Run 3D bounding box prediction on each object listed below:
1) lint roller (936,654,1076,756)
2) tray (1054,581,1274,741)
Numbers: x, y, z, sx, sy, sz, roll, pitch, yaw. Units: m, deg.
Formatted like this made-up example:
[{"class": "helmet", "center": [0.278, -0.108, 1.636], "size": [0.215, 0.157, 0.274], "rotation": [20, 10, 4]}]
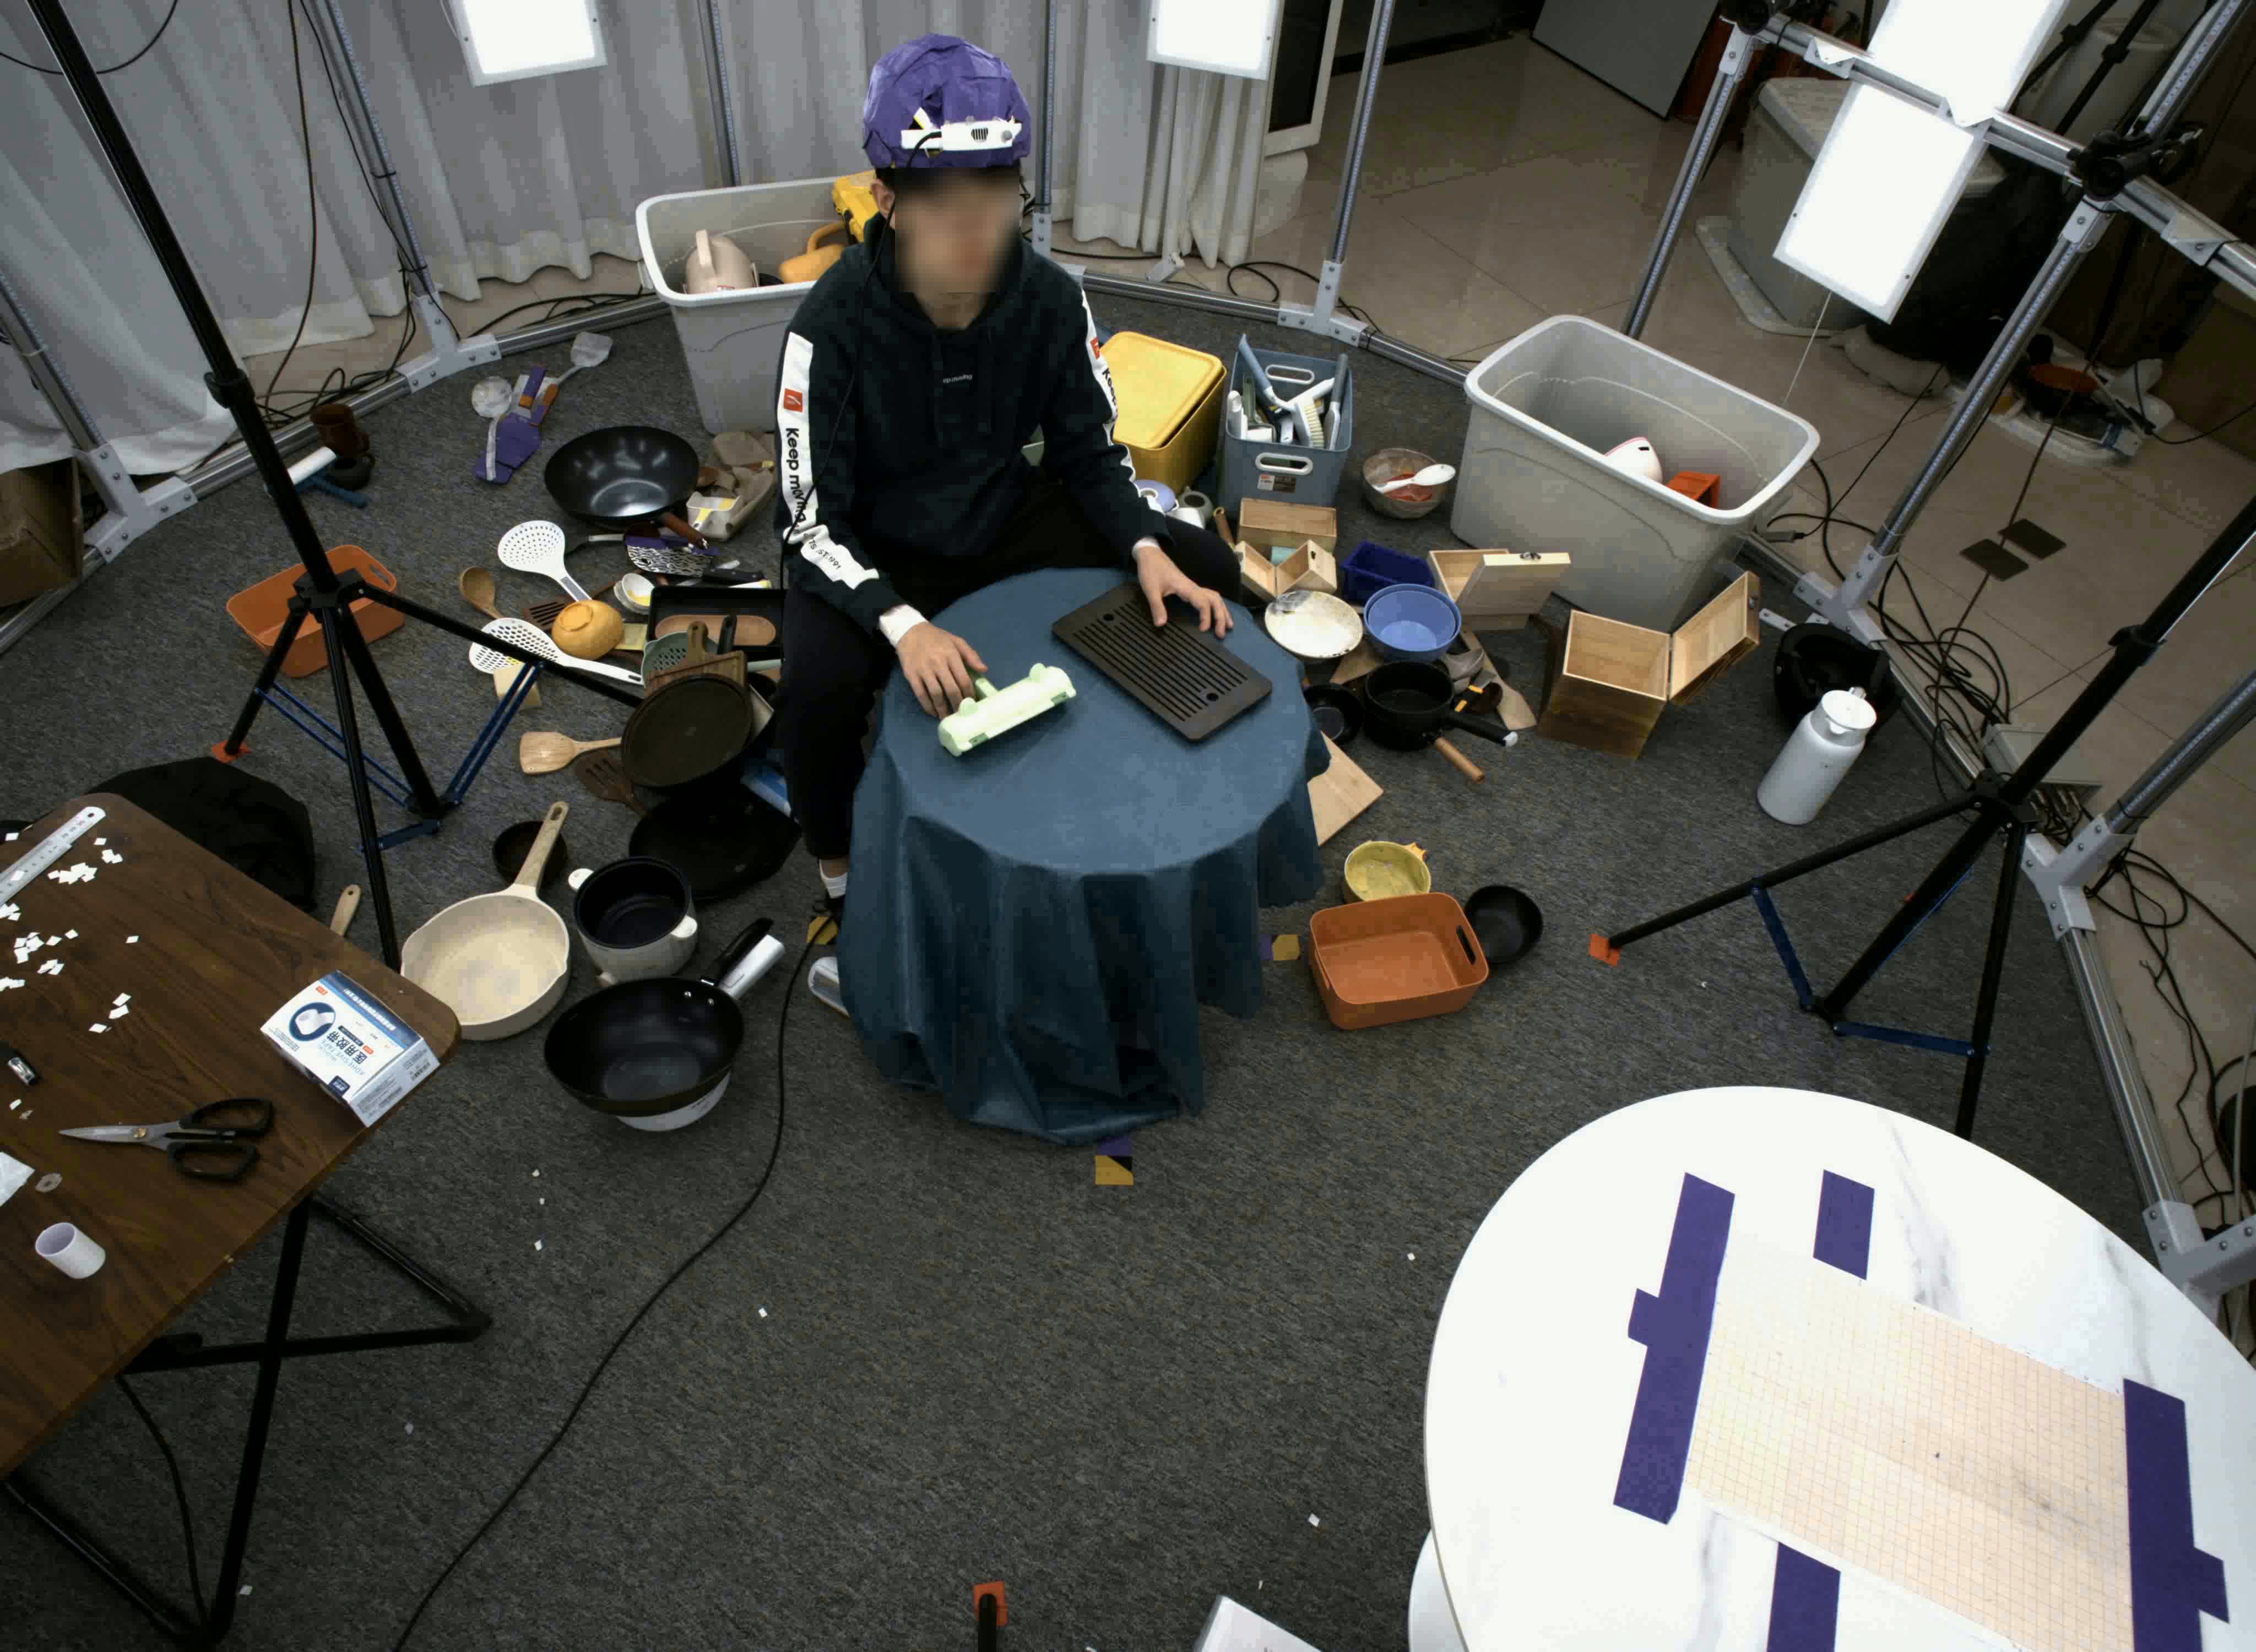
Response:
[{"class": "lint roller", "center": [-0.200, -0.199, 1.776], "size": [0.200, 0.080, 0.186], "rotation": [-30, 60, -26]}, {"class": "tray", "center": [0.049, -0.244, 1.871], "size": [0.171, 0.018, 0.311], "rotation": [-34, 59, -28]}]
